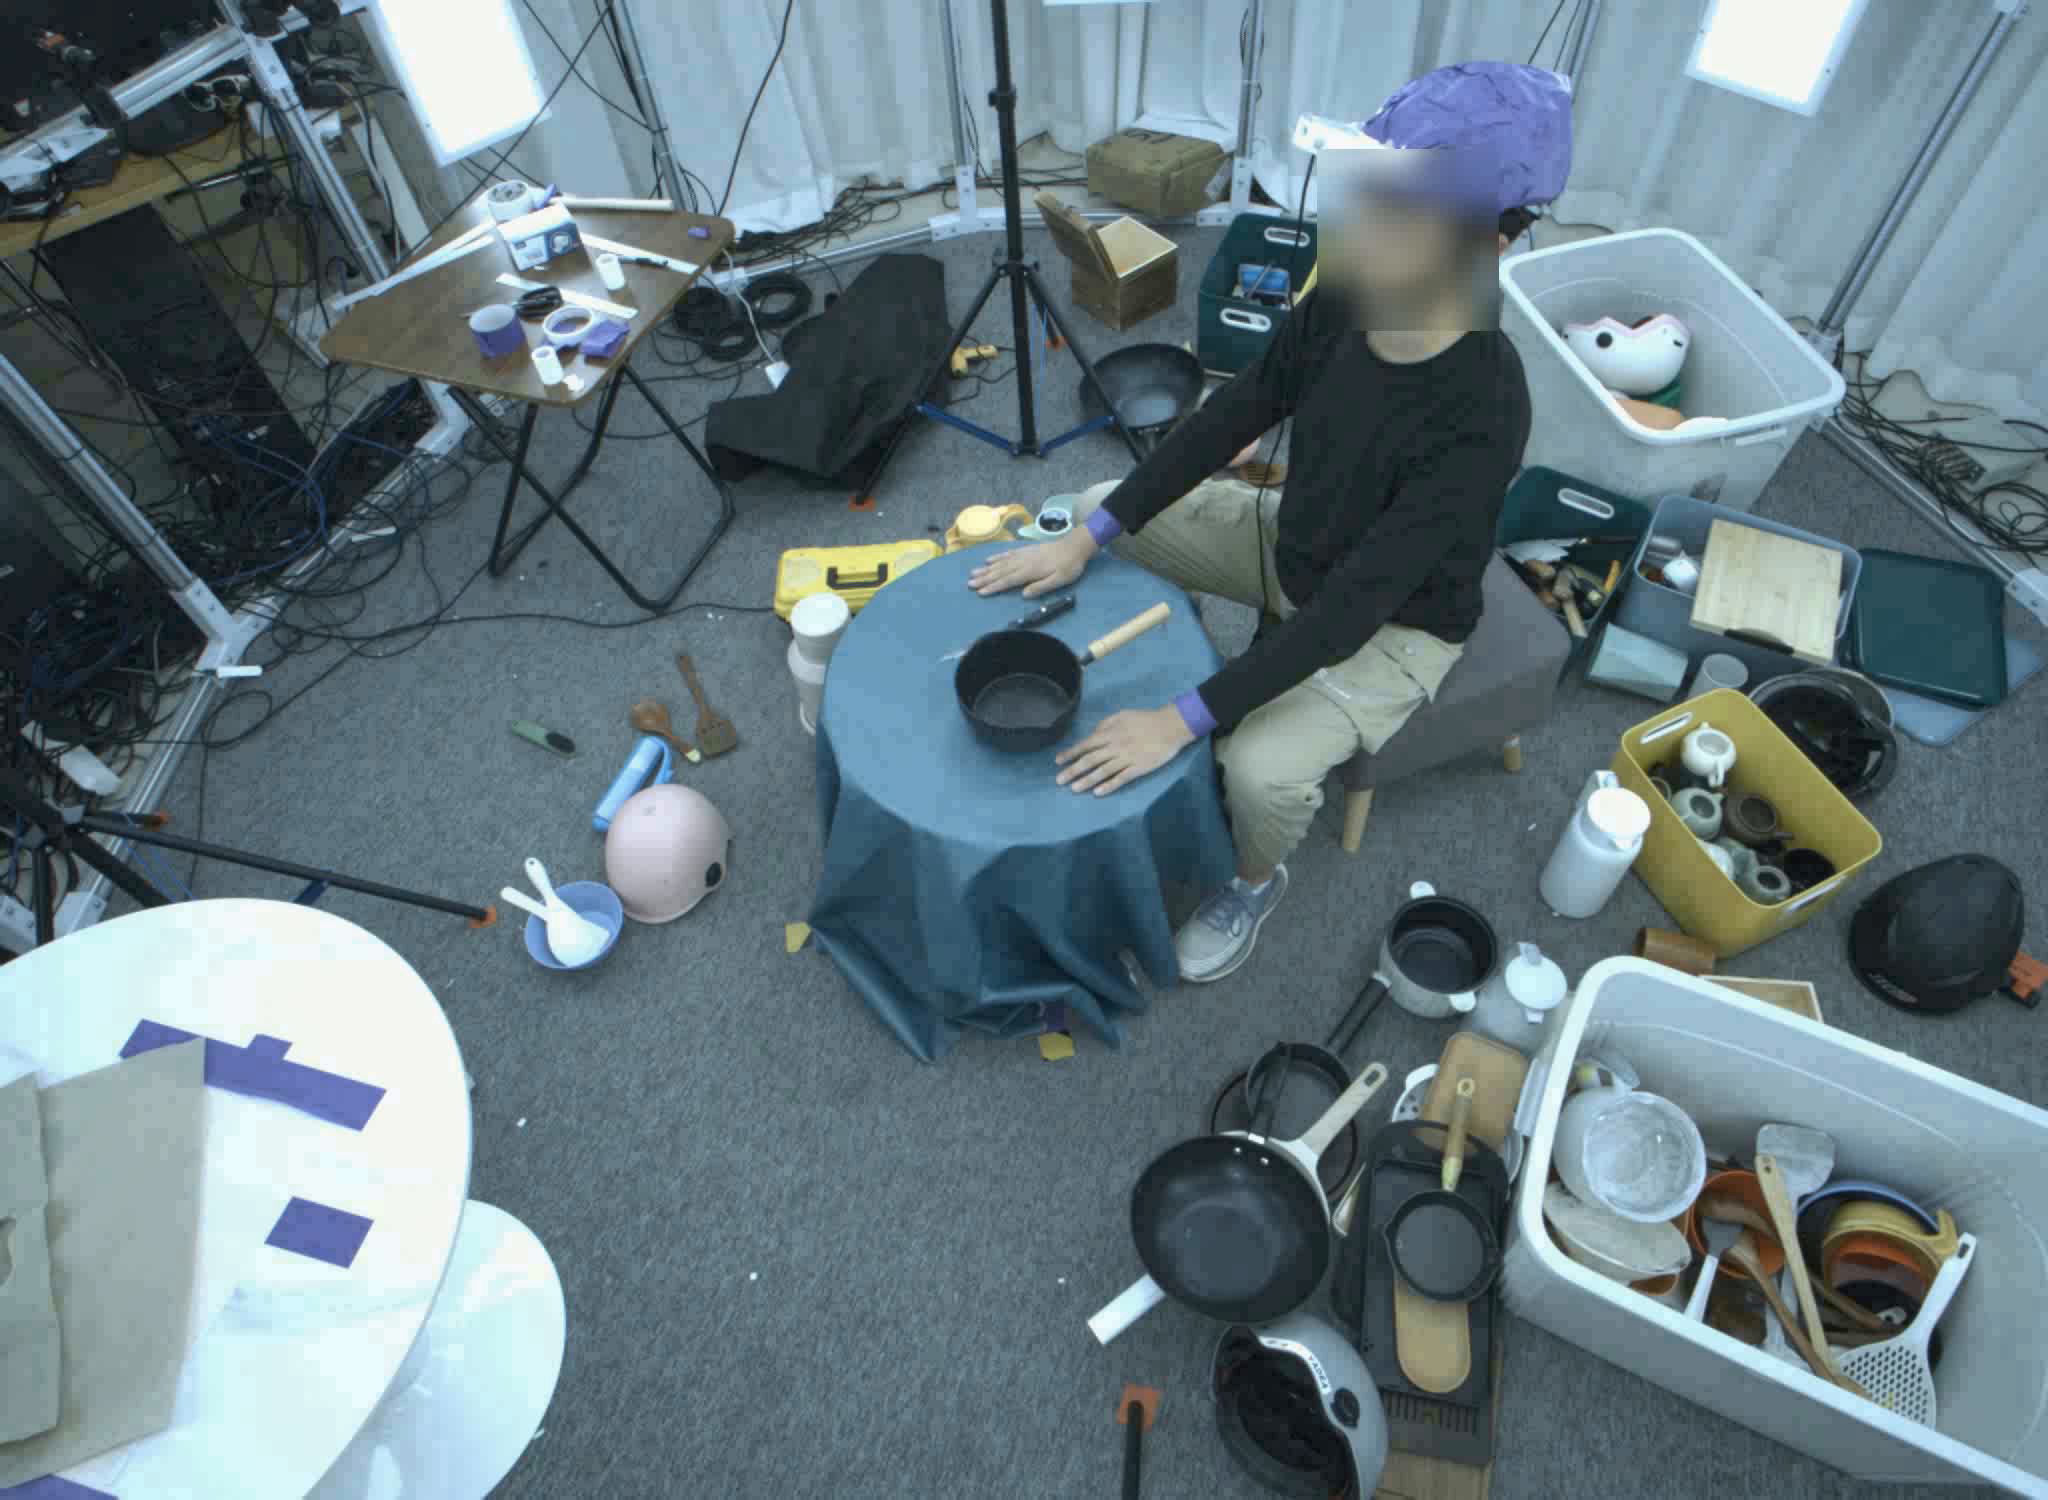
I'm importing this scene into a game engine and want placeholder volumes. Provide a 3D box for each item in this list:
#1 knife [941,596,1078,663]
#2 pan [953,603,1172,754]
[{"bbox_3d":[-0.024,-0.187,1.911,0.240,0.016,0.024,-26,61,-12],"label":"knife"},{"bbox_3d":[0.063,-0.118,1.800,0.345,0.109,0.203,-25,57,-14],"label":"pan"}]
